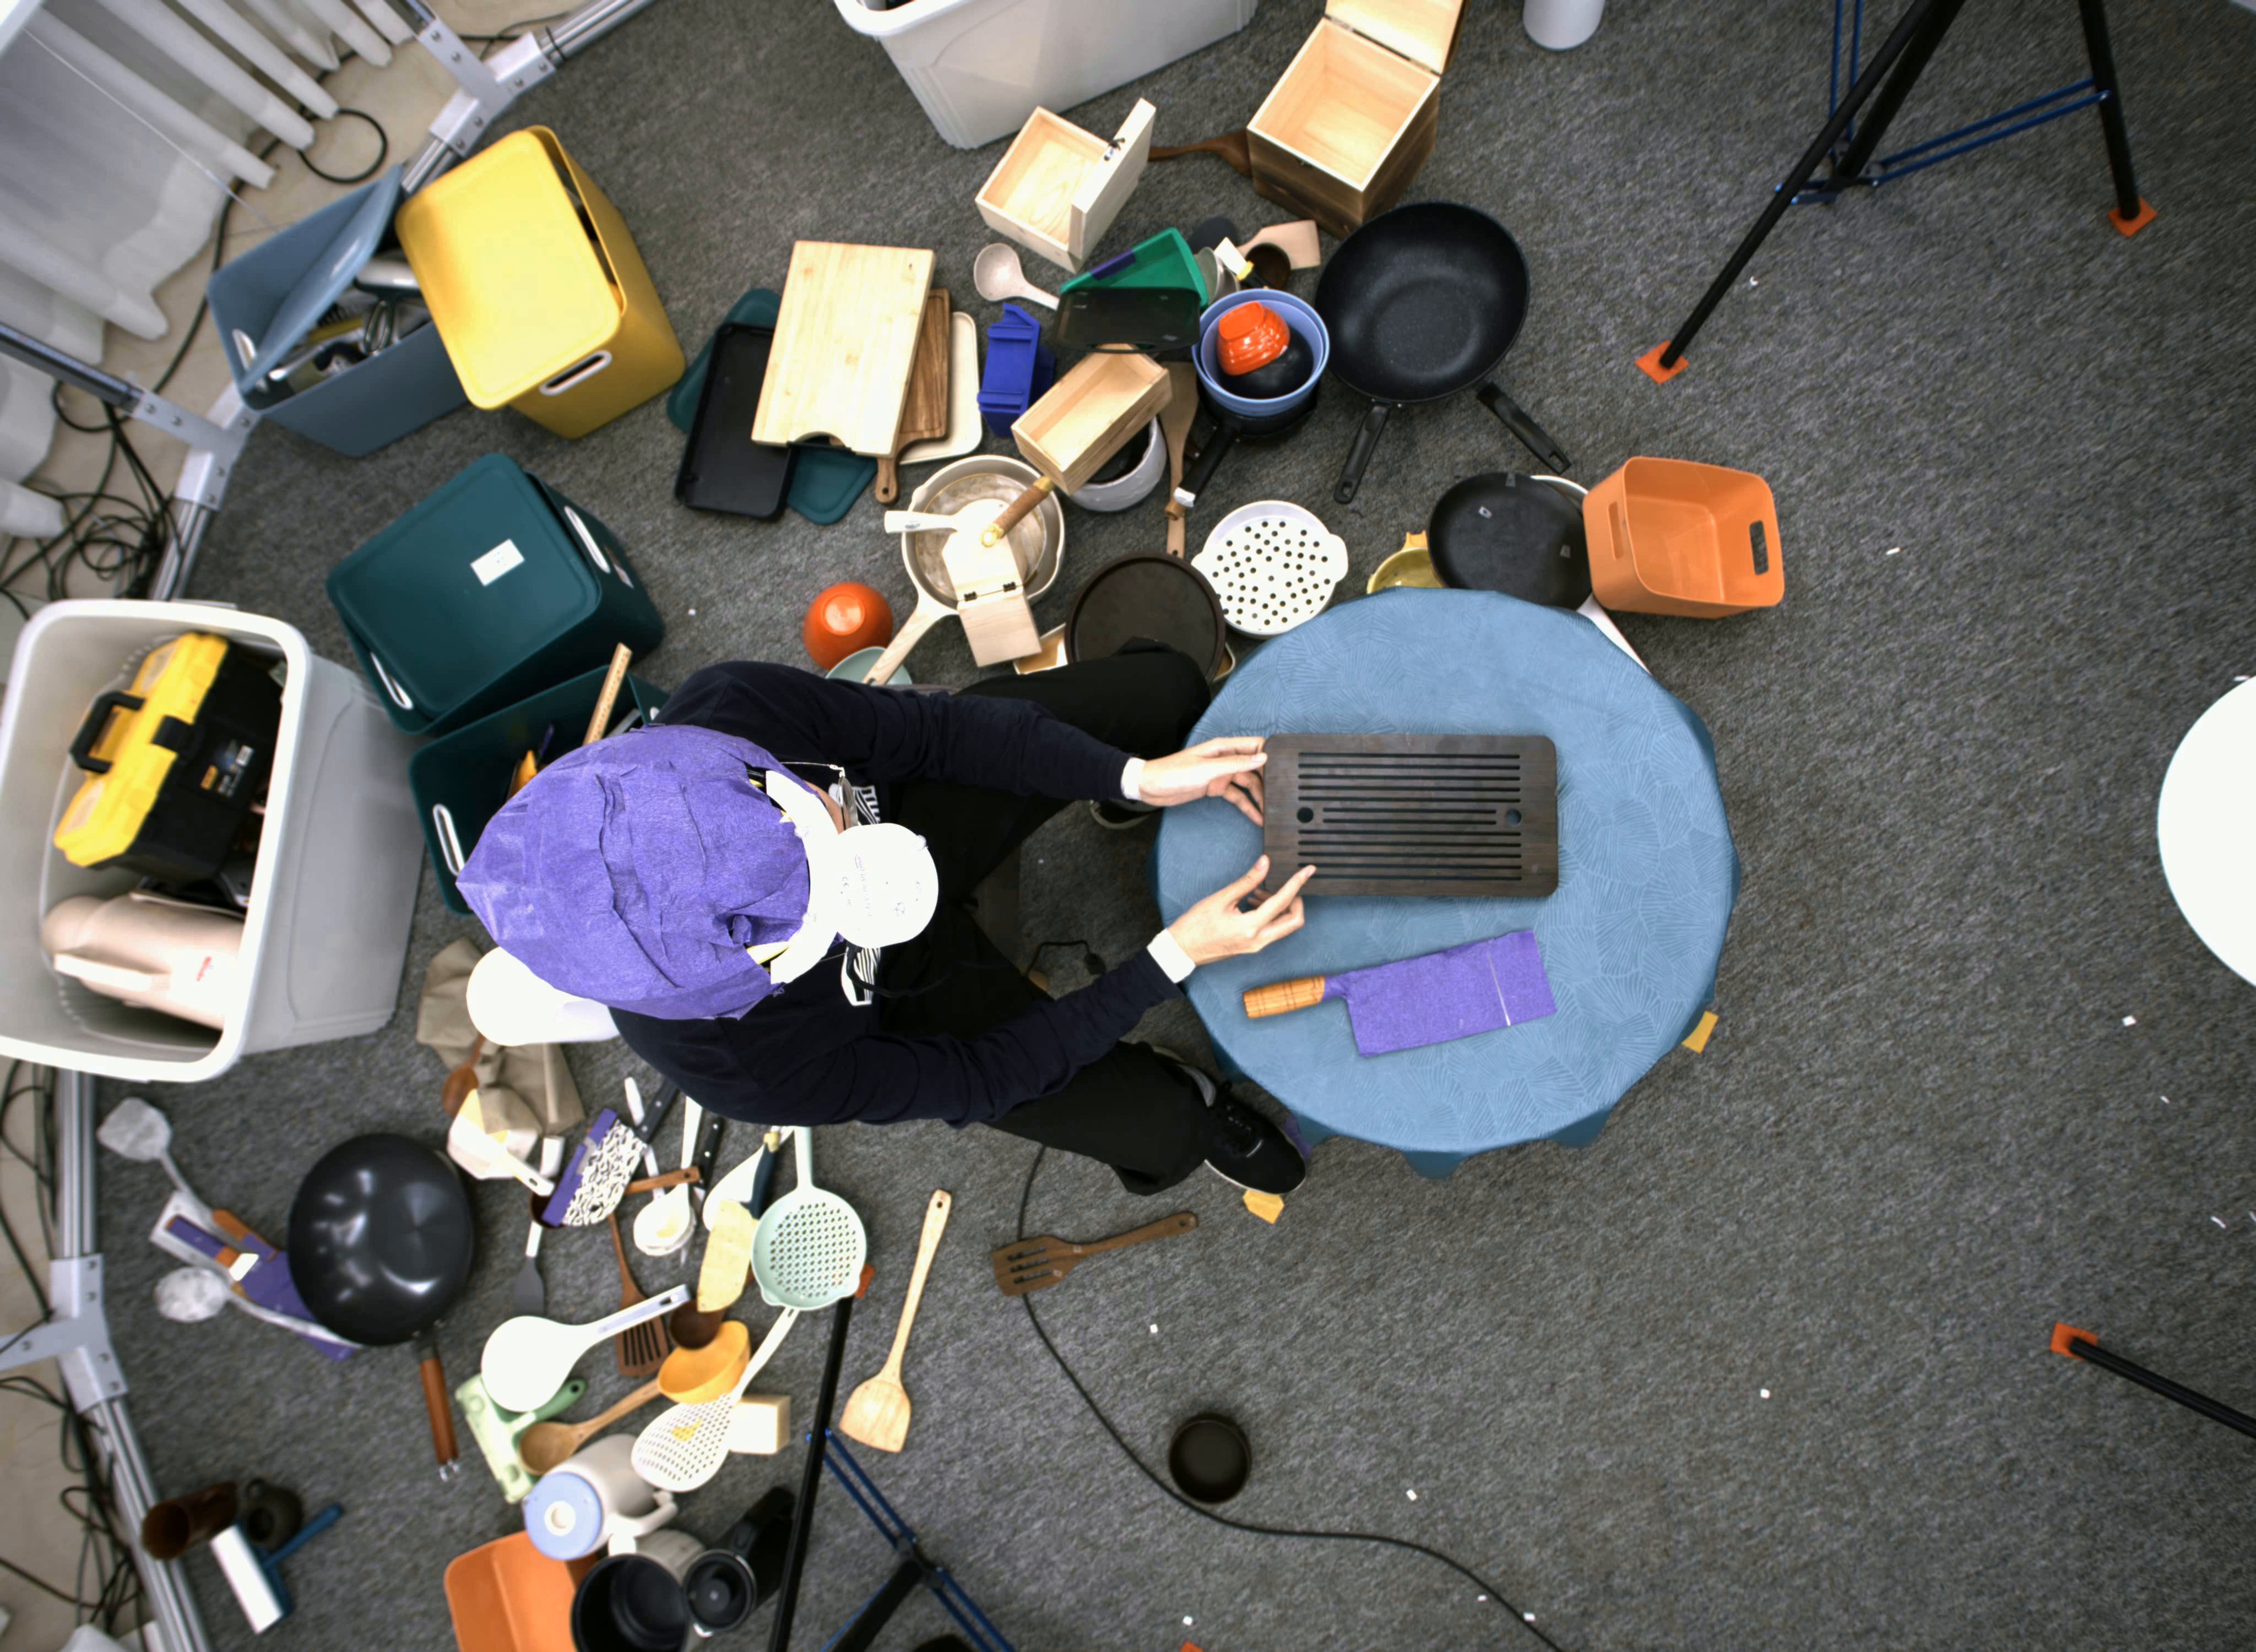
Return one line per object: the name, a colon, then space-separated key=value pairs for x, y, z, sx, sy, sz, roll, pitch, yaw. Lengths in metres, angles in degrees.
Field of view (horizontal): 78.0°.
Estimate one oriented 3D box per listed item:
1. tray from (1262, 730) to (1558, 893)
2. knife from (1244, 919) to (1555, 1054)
tray: x=0.292 y=-0.017 z=1.433 sx=0.306 sy=0.018 sz=0.169 roll=0 pitch=87 yaw=3
knife: x=0.282 y=0.182 z=1.438 sx=0.317 sy=0.032 sz=0.103 roll=-15 pitch=84 yaw=9
